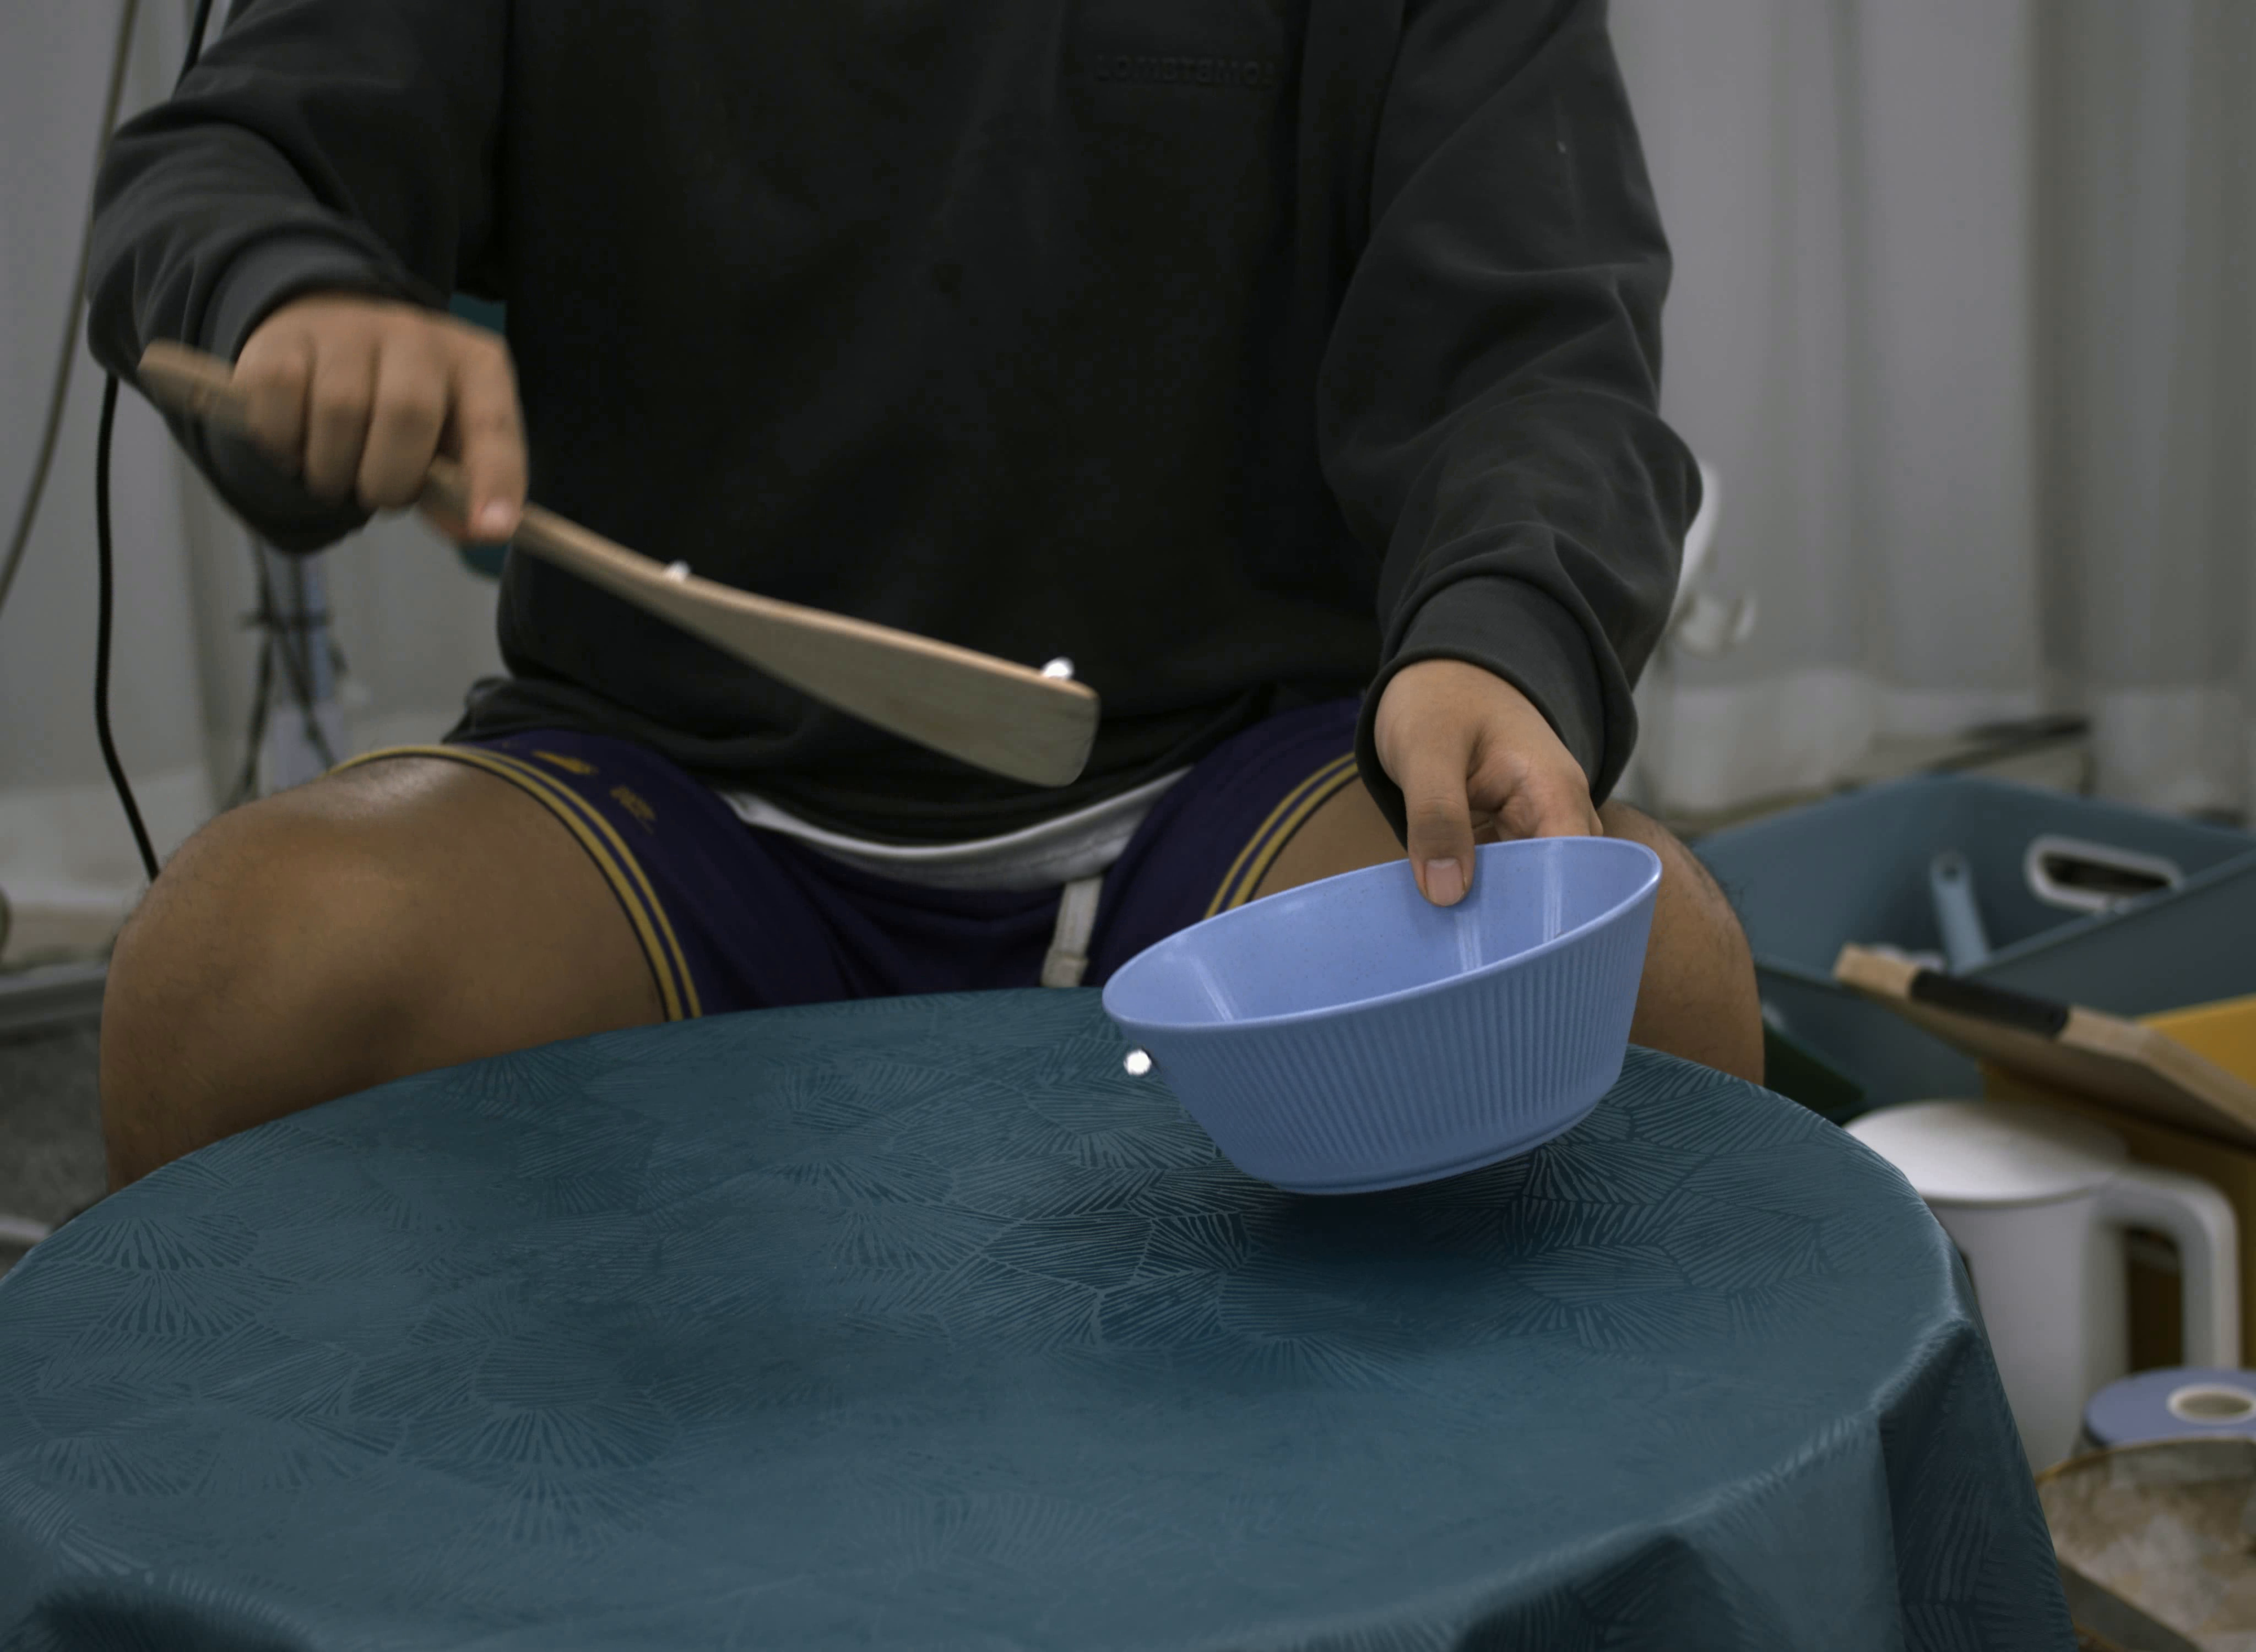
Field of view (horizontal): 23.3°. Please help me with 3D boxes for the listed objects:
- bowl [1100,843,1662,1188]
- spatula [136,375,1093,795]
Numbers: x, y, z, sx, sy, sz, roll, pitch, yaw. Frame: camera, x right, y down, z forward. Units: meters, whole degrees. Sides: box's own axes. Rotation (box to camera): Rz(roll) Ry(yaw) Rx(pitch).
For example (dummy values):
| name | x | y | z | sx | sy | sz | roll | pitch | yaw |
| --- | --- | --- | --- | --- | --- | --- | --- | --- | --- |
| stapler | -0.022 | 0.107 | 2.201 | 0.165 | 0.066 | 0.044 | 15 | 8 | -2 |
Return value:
| name | x | y | z | sx | sy | sz | roll | pitch | yaw |
| --- | --- | --- | --- | --- | --- | --- | --- | --- | --- |
| bowl | 0.084 | 0.061 | 1.673 | 0.175 | 0.070 | 0.177 | -13 | 11 | 2 |
| spatula | -0.156 | -0.076 | 1.644 | 0.328 | 0.016 | 0.079 | 22 | -20 | 16 |
